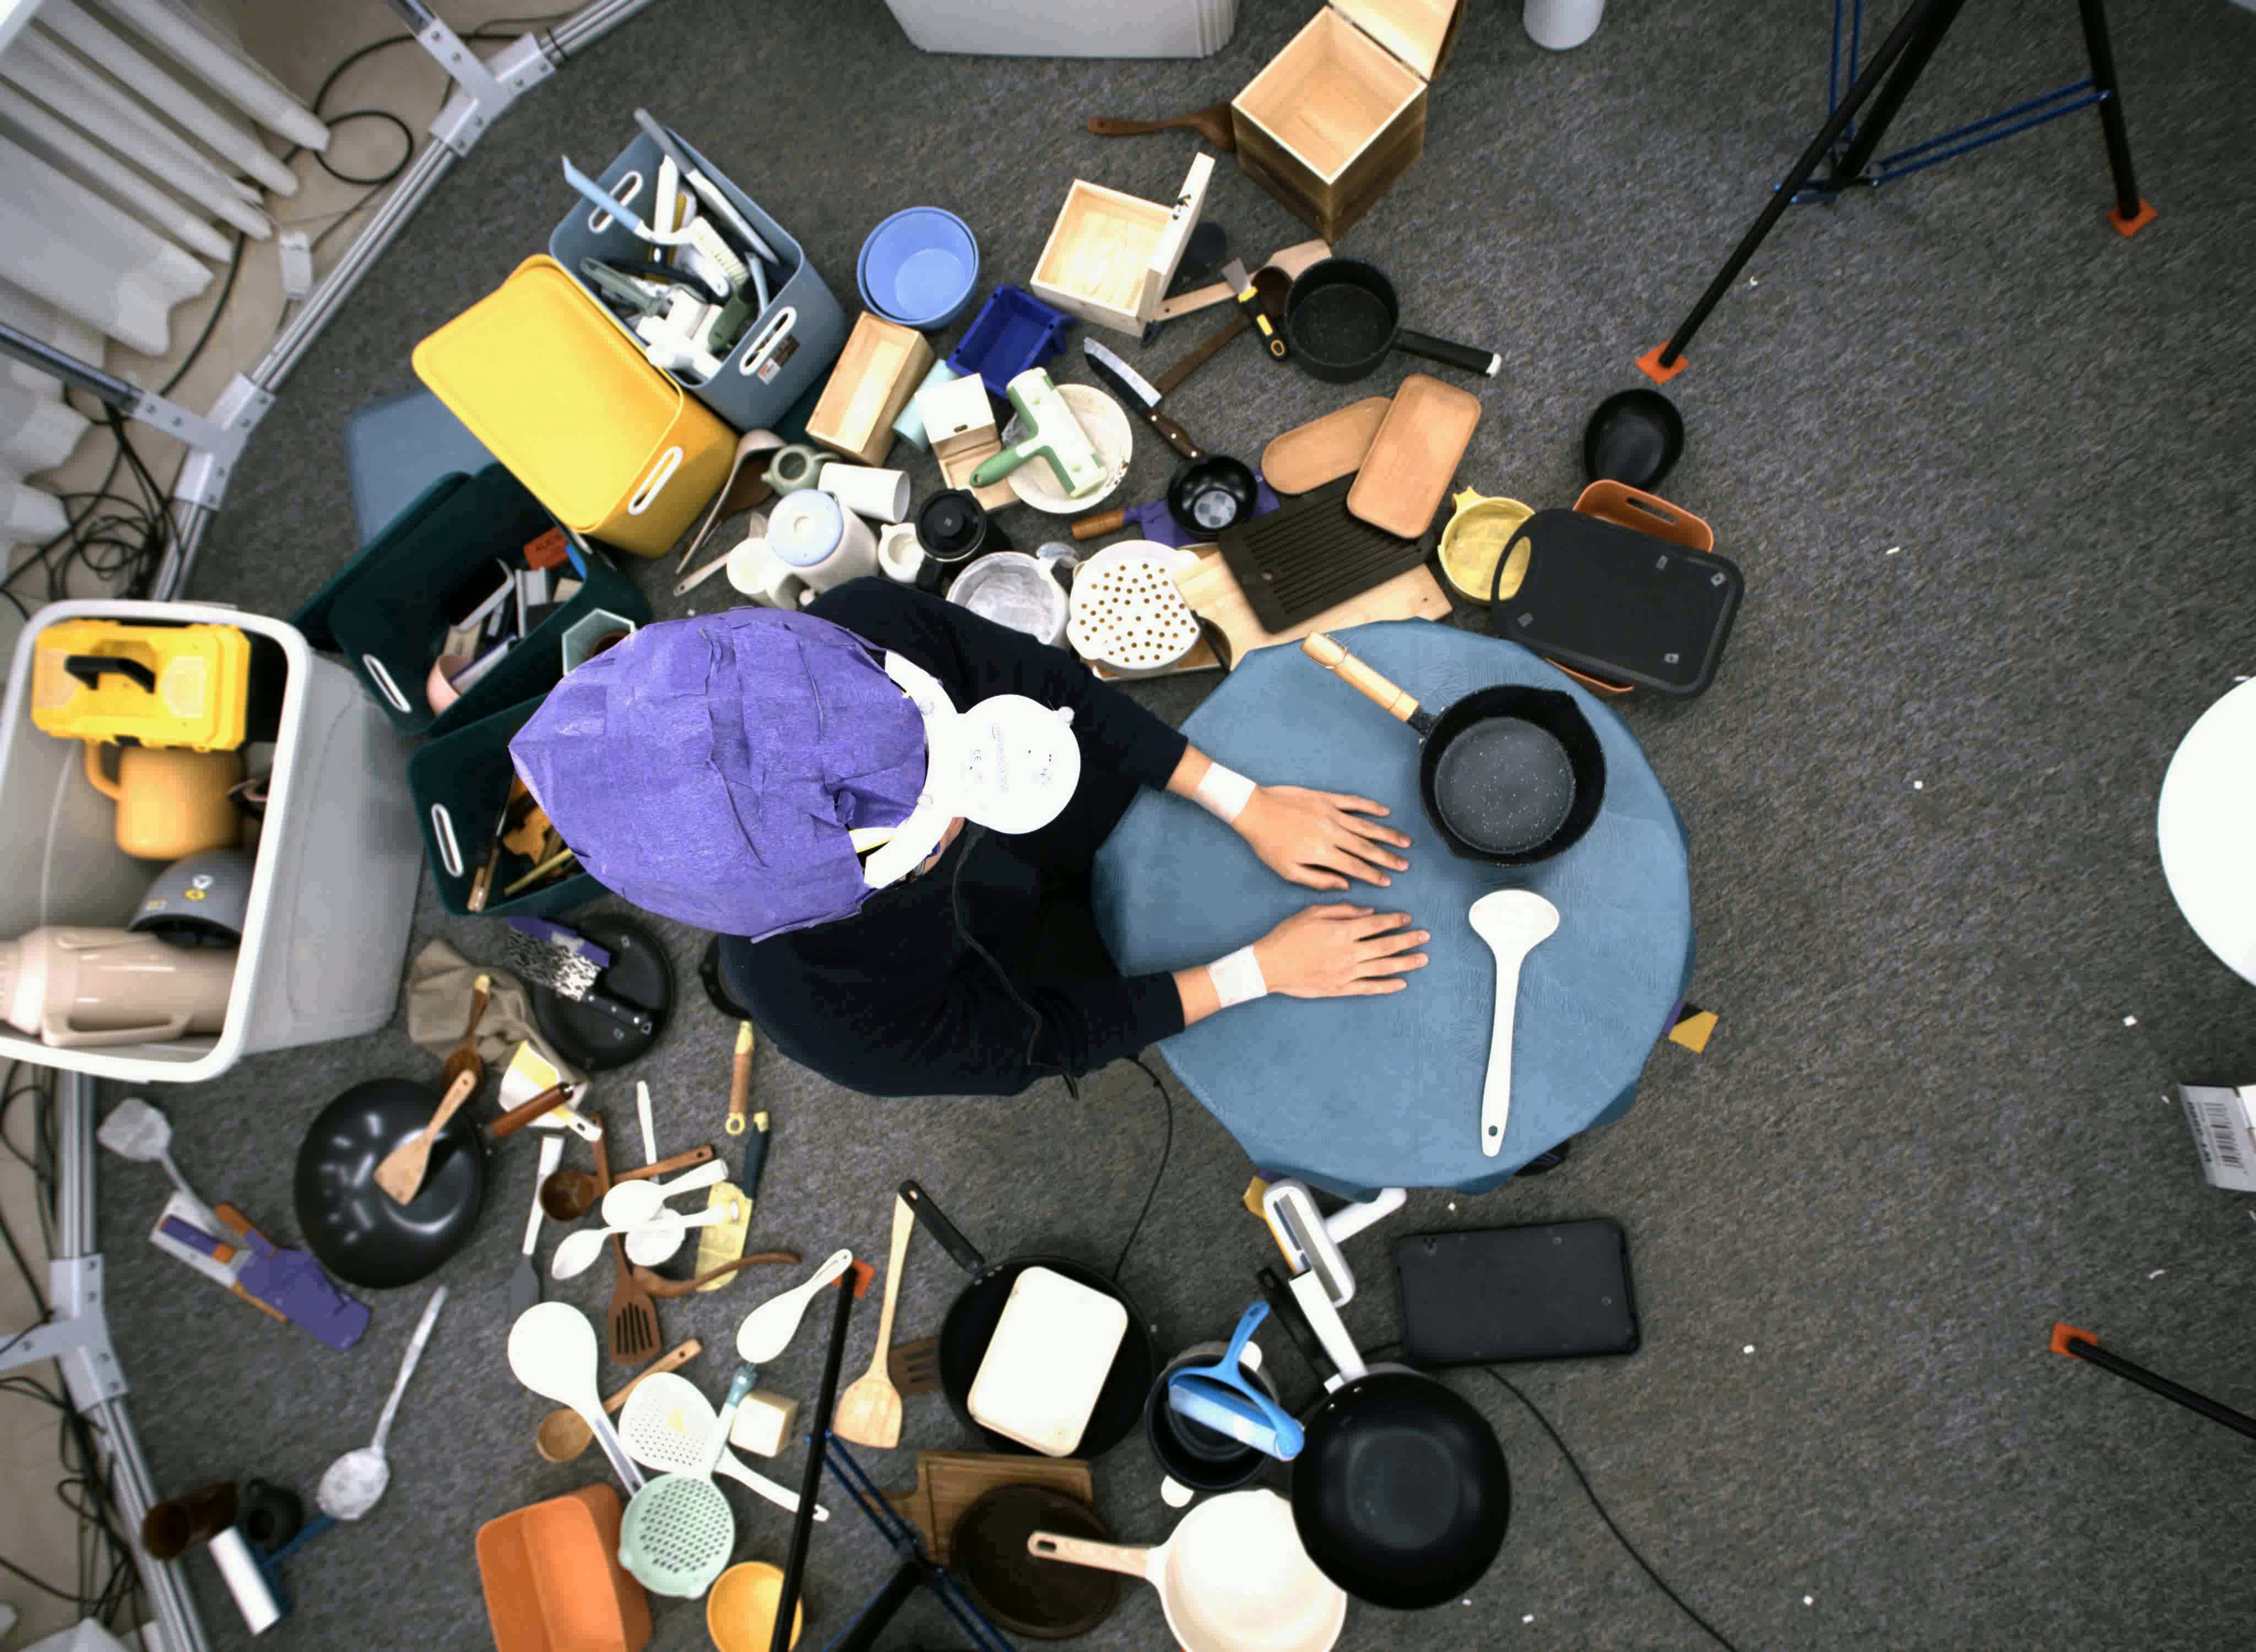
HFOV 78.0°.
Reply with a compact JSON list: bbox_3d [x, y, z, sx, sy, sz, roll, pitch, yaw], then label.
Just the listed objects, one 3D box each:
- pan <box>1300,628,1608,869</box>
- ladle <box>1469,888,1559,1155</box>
[{"bbox_3d":[0.321,-0.093,1.404,0.342,0.108,0.208,34,94,9],"label":"pan"},{"bbox_3d":[0.382,0.197,1.397,0.089,0.069,0.274,6,87,6],"label":"ladle"}]
